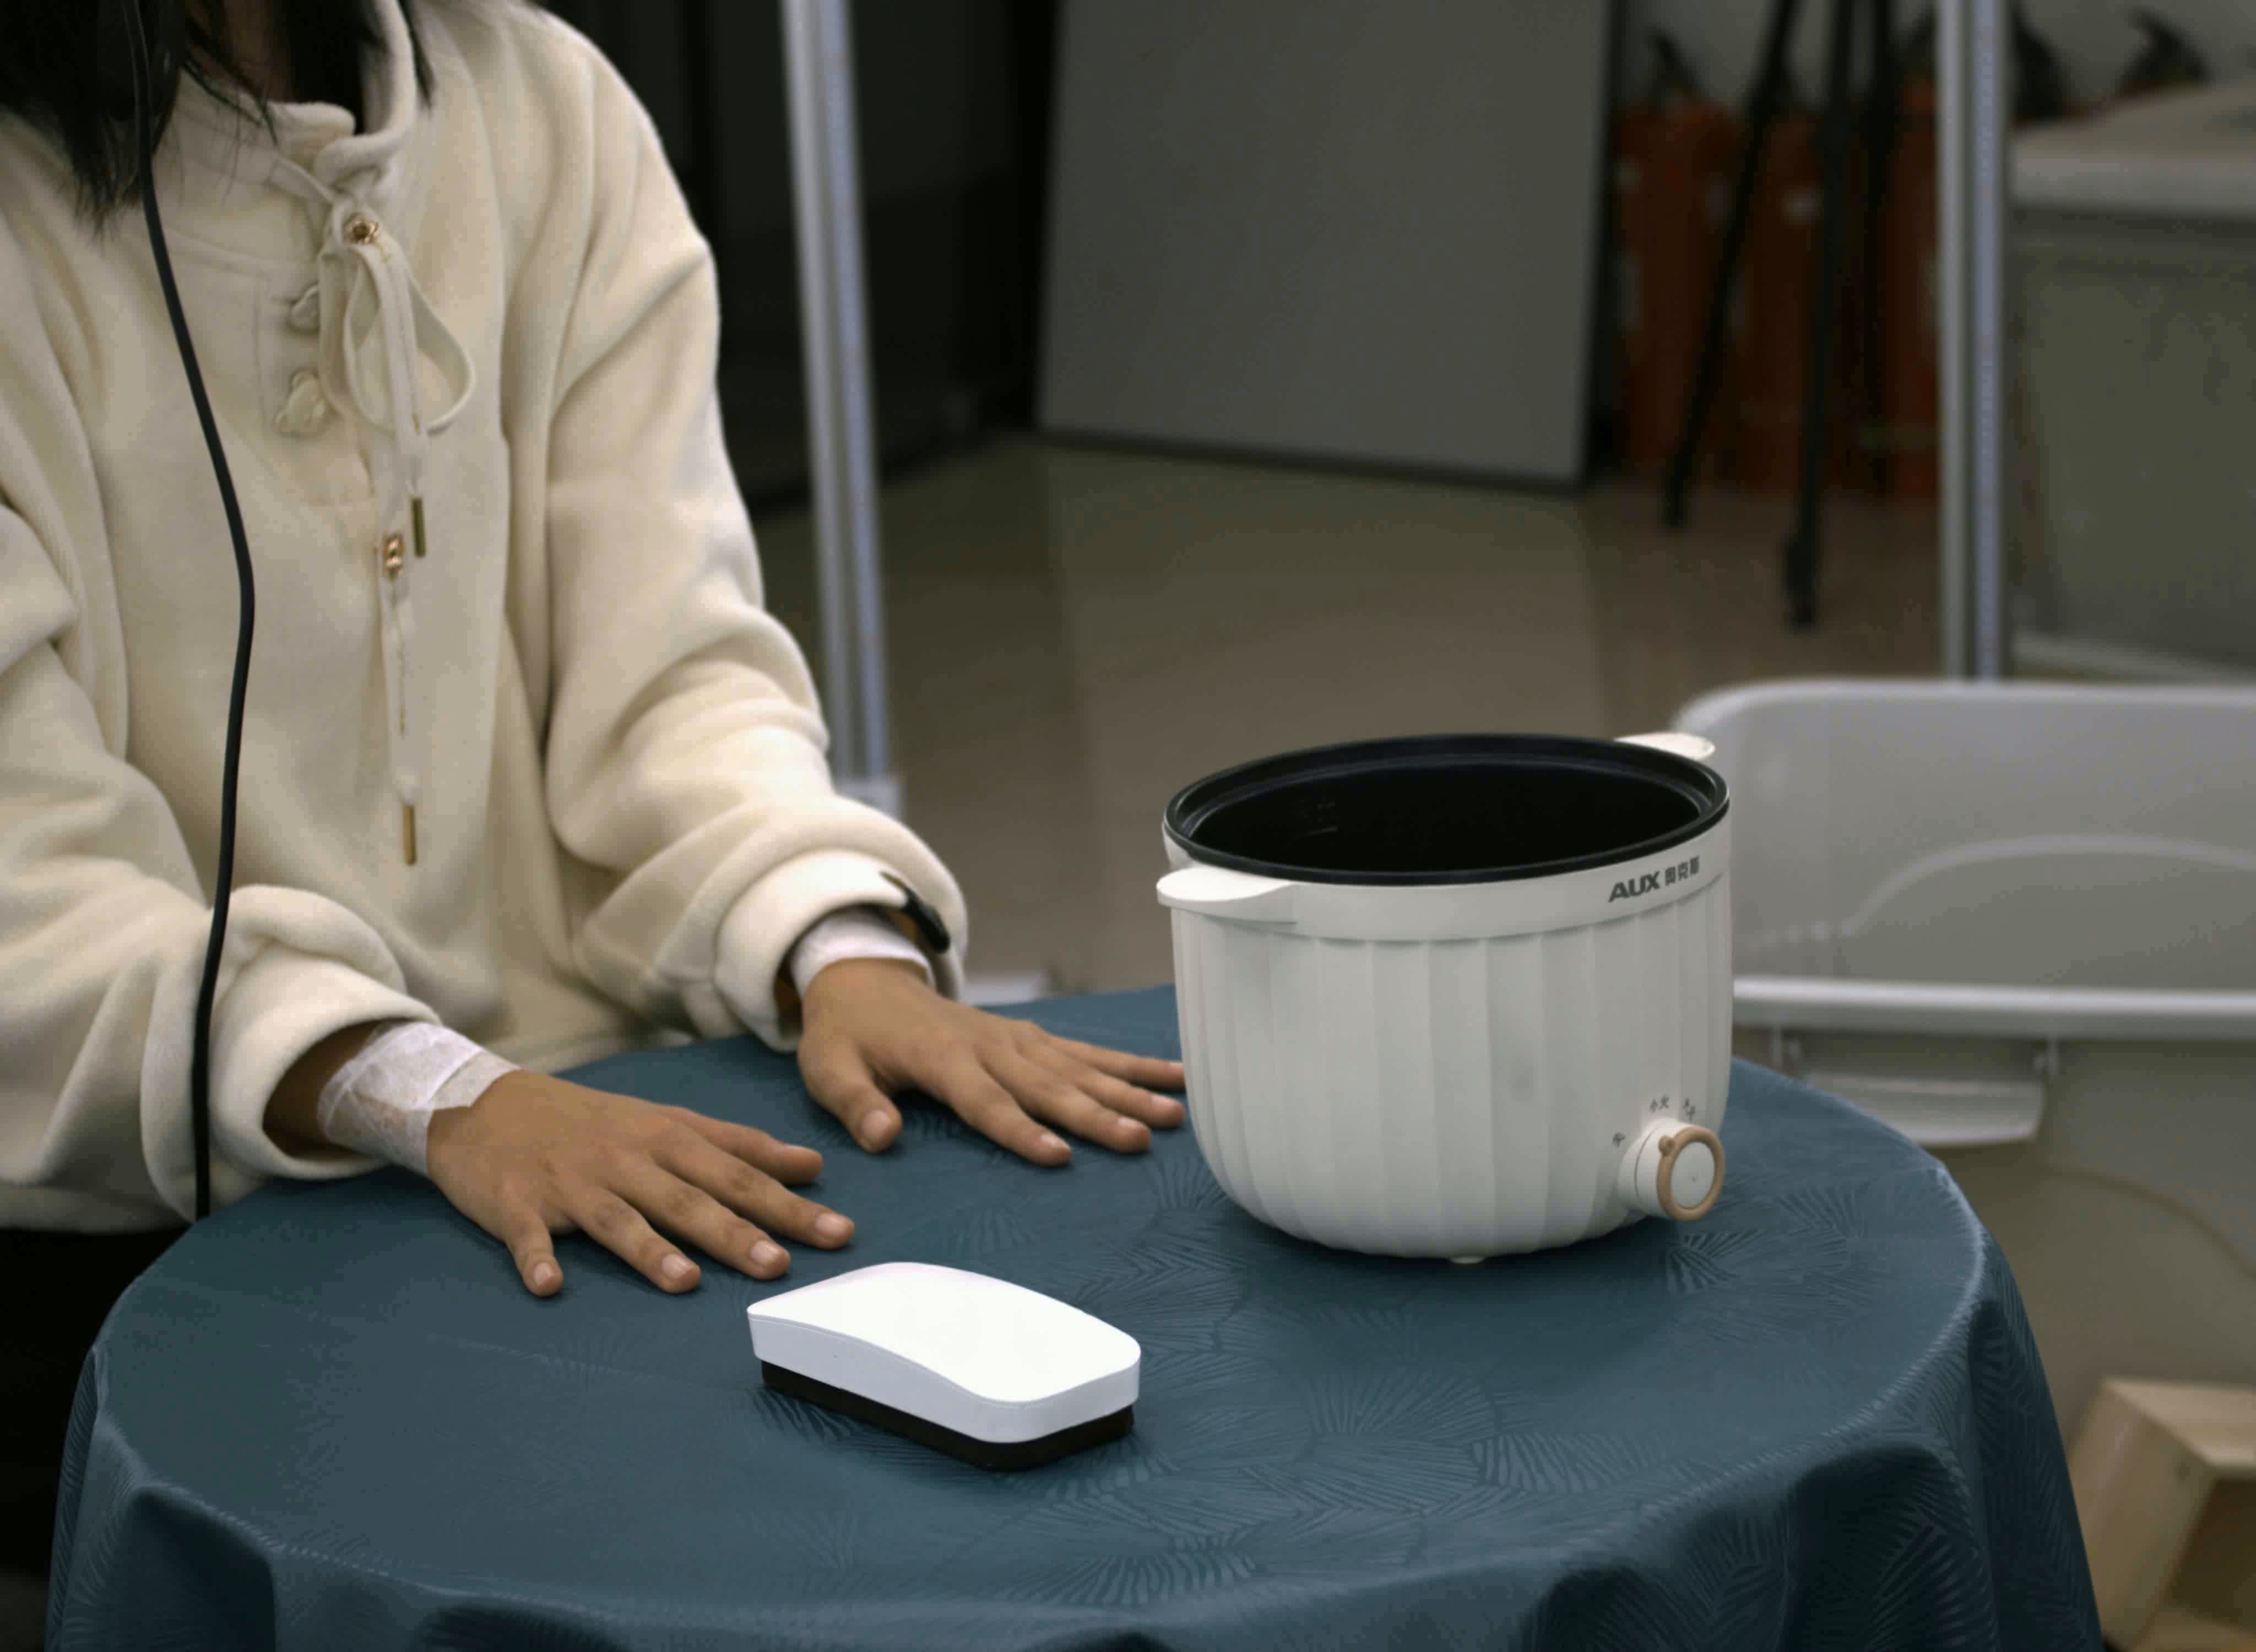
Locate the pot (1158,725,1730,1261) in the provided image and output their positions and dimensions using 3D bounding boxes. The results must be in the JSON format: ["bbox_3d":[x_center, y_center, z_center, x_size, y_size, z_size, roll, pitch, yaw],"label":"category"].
[{"bbox_3d":[0.108,0.054,1.714,0.235,0.144,0.192,-17,16,-41],"label":"pot"}]

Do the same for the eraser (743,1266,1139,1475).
[{"bbox_3d":[-0.054,0.156,1.581,0.062,0.035,0.132,-11,16,-38],"label":"eraser"}]
